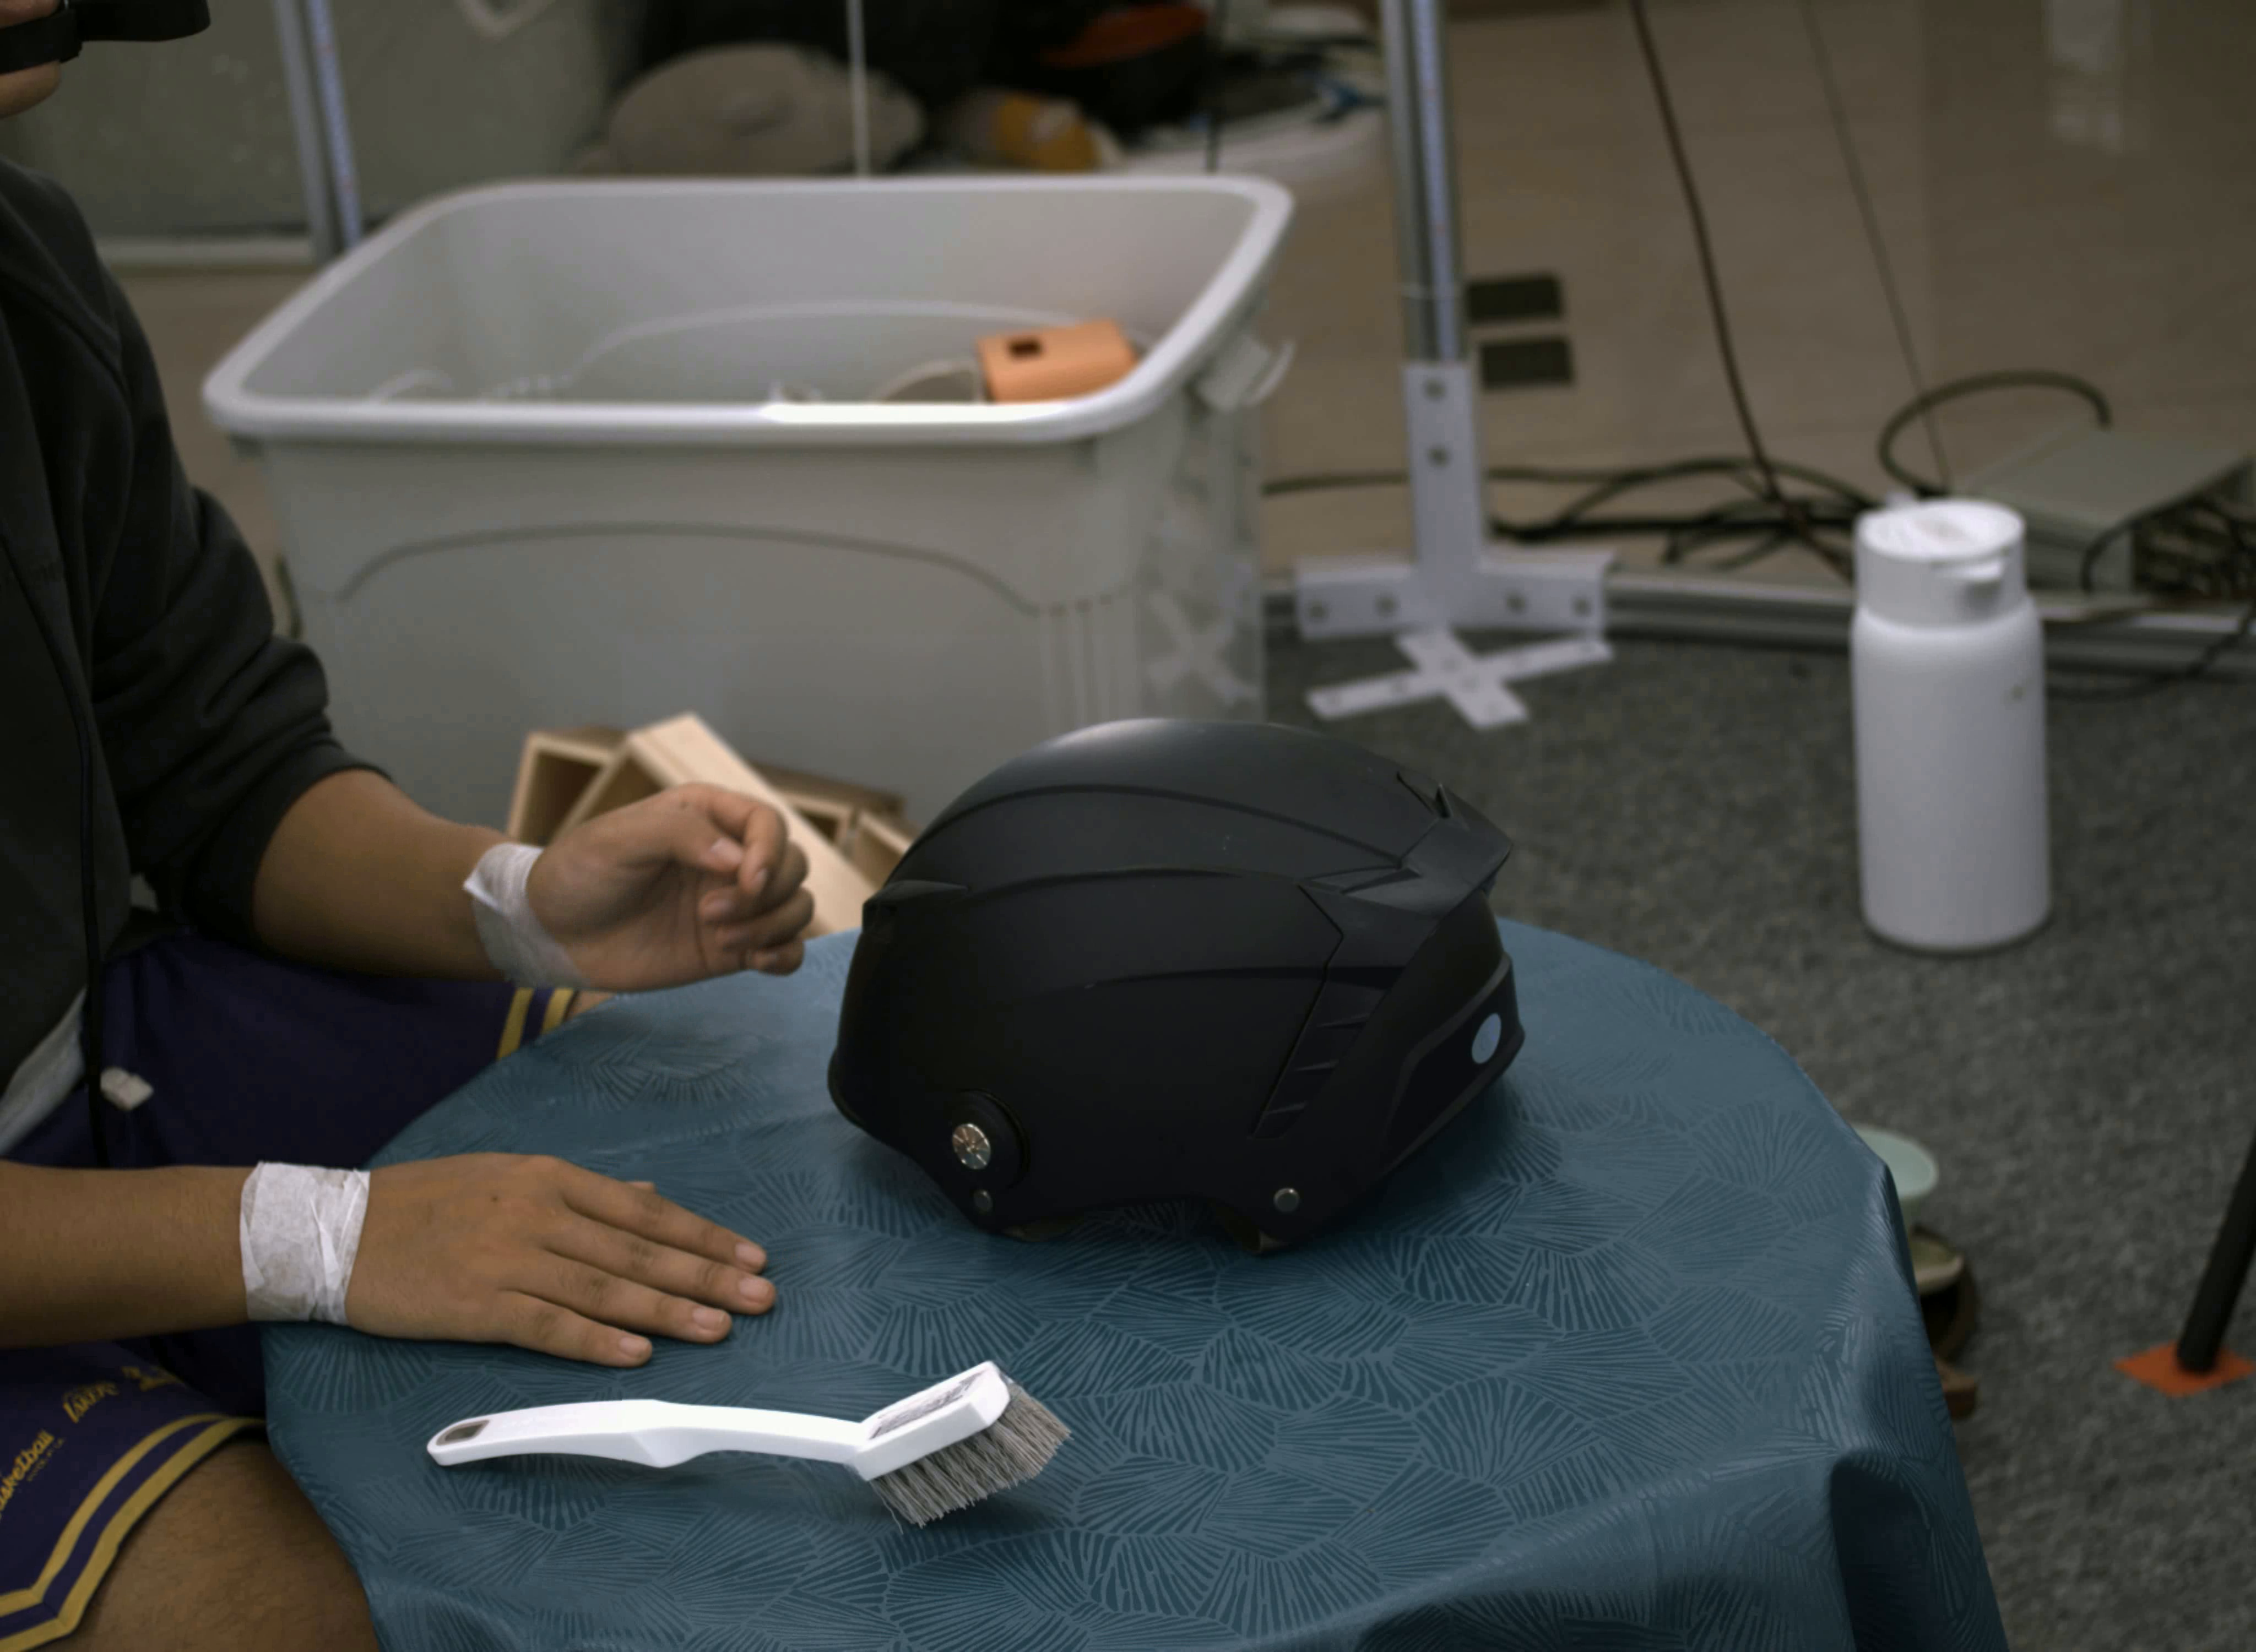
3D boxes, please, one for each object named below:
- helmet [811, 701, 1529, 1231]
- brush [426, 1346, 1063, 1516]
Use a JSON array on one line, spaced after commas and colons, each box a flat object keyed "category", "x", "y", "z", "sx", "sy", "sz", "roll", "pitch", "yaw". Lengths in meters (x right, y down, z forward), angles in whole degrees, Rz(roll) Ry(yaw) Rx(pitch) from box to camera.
[{"category": "helmet", "x": 0.016, "y": 0.041, "z": 2.162, "sx": 0.275, "sy": 0.175, "sz": 0.244, "roll": 11, "pitch": 30, "yaw": 27}, {"category": "brush", "x": -0.135, "y": 0.221, "z": 1.977, "sx": 0.244, "sy": 0.051, "sz": 0.034, "roll": -10, "pitch": 23, "yaw": 26}]
